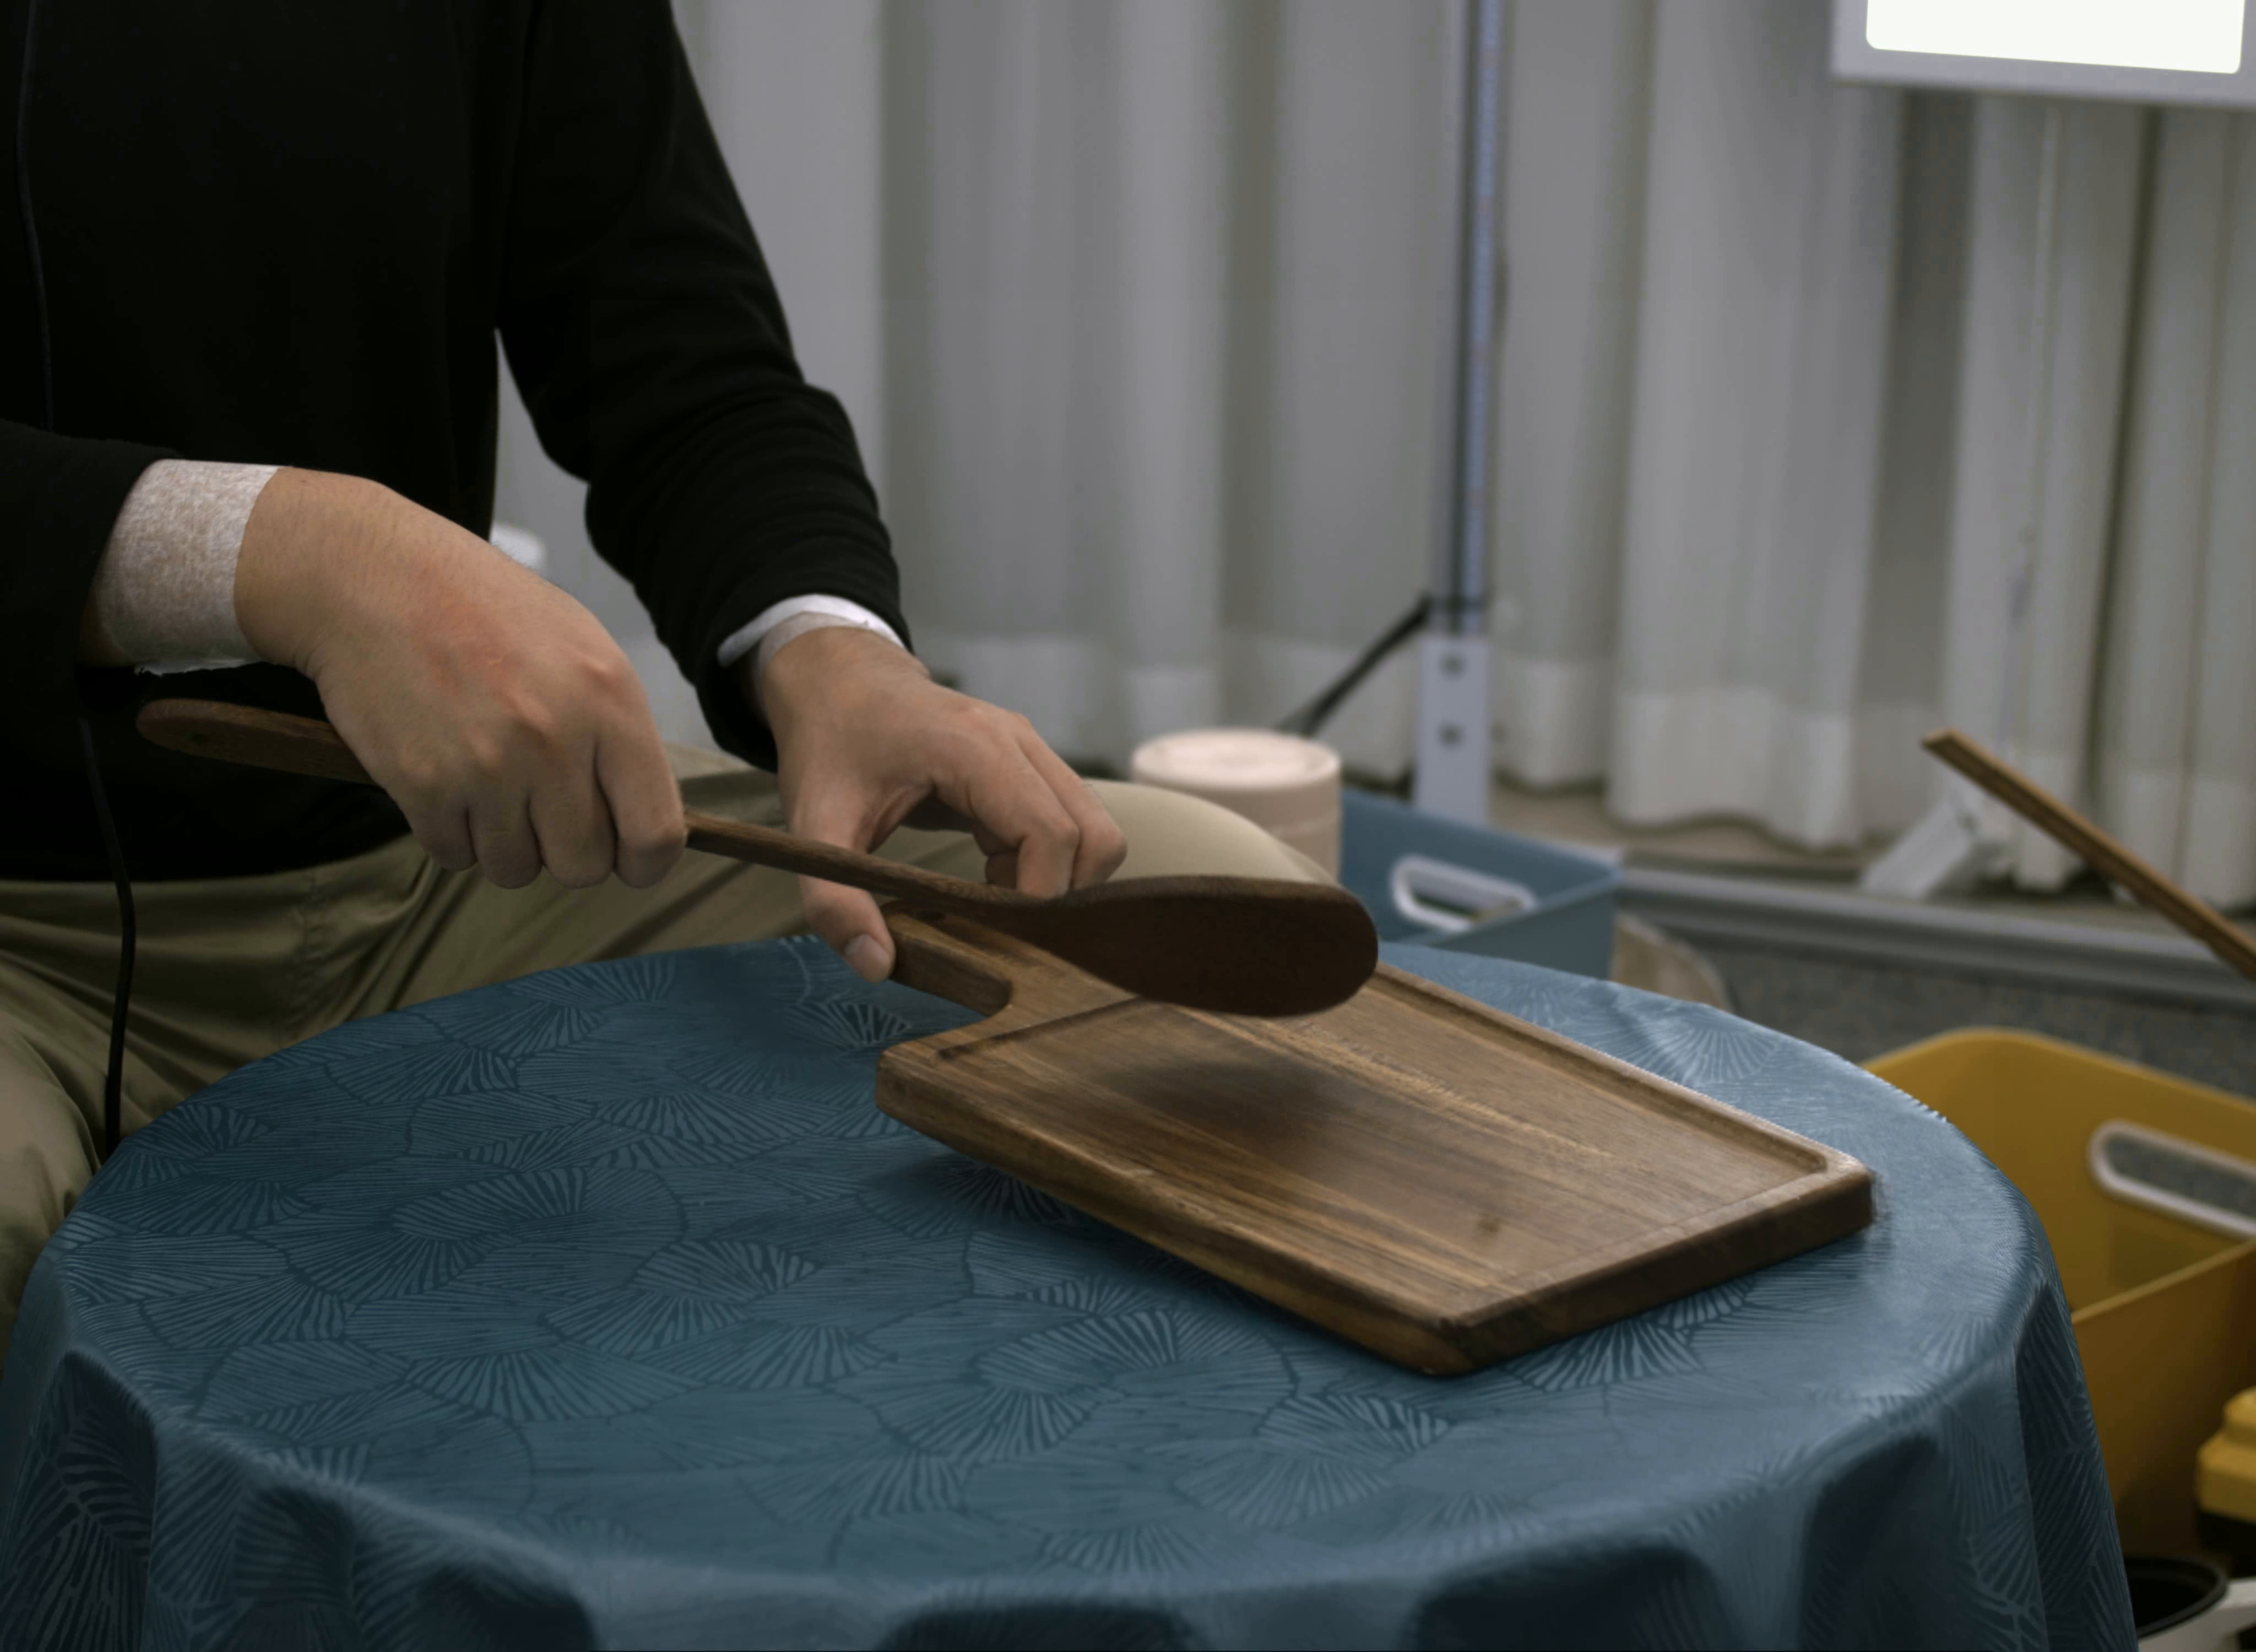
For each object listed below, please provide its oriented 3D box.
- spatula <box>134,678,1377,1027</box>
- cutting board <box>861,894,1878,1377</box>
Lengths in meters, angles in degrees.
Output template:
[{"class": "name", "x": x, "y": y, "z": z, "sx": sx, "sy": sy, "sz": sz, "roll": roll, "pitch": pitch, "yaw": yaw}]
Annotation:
[{"class": "spatula", "x": -0.113, "y": 0.004, "z": 1.602, "sx": 0.385, "sy": 0.016, "sz": 0.096, "roll": 14, "pitch": -26, "yaw": -2}, {"class": "cutting board", "x": 0.040, "y": 0.081, "z": 1.642, "sx": 0.202, "sy": 0.023, "sz": 0.347, "roll": -14, "pitch": 26, "yaw": -43}]
